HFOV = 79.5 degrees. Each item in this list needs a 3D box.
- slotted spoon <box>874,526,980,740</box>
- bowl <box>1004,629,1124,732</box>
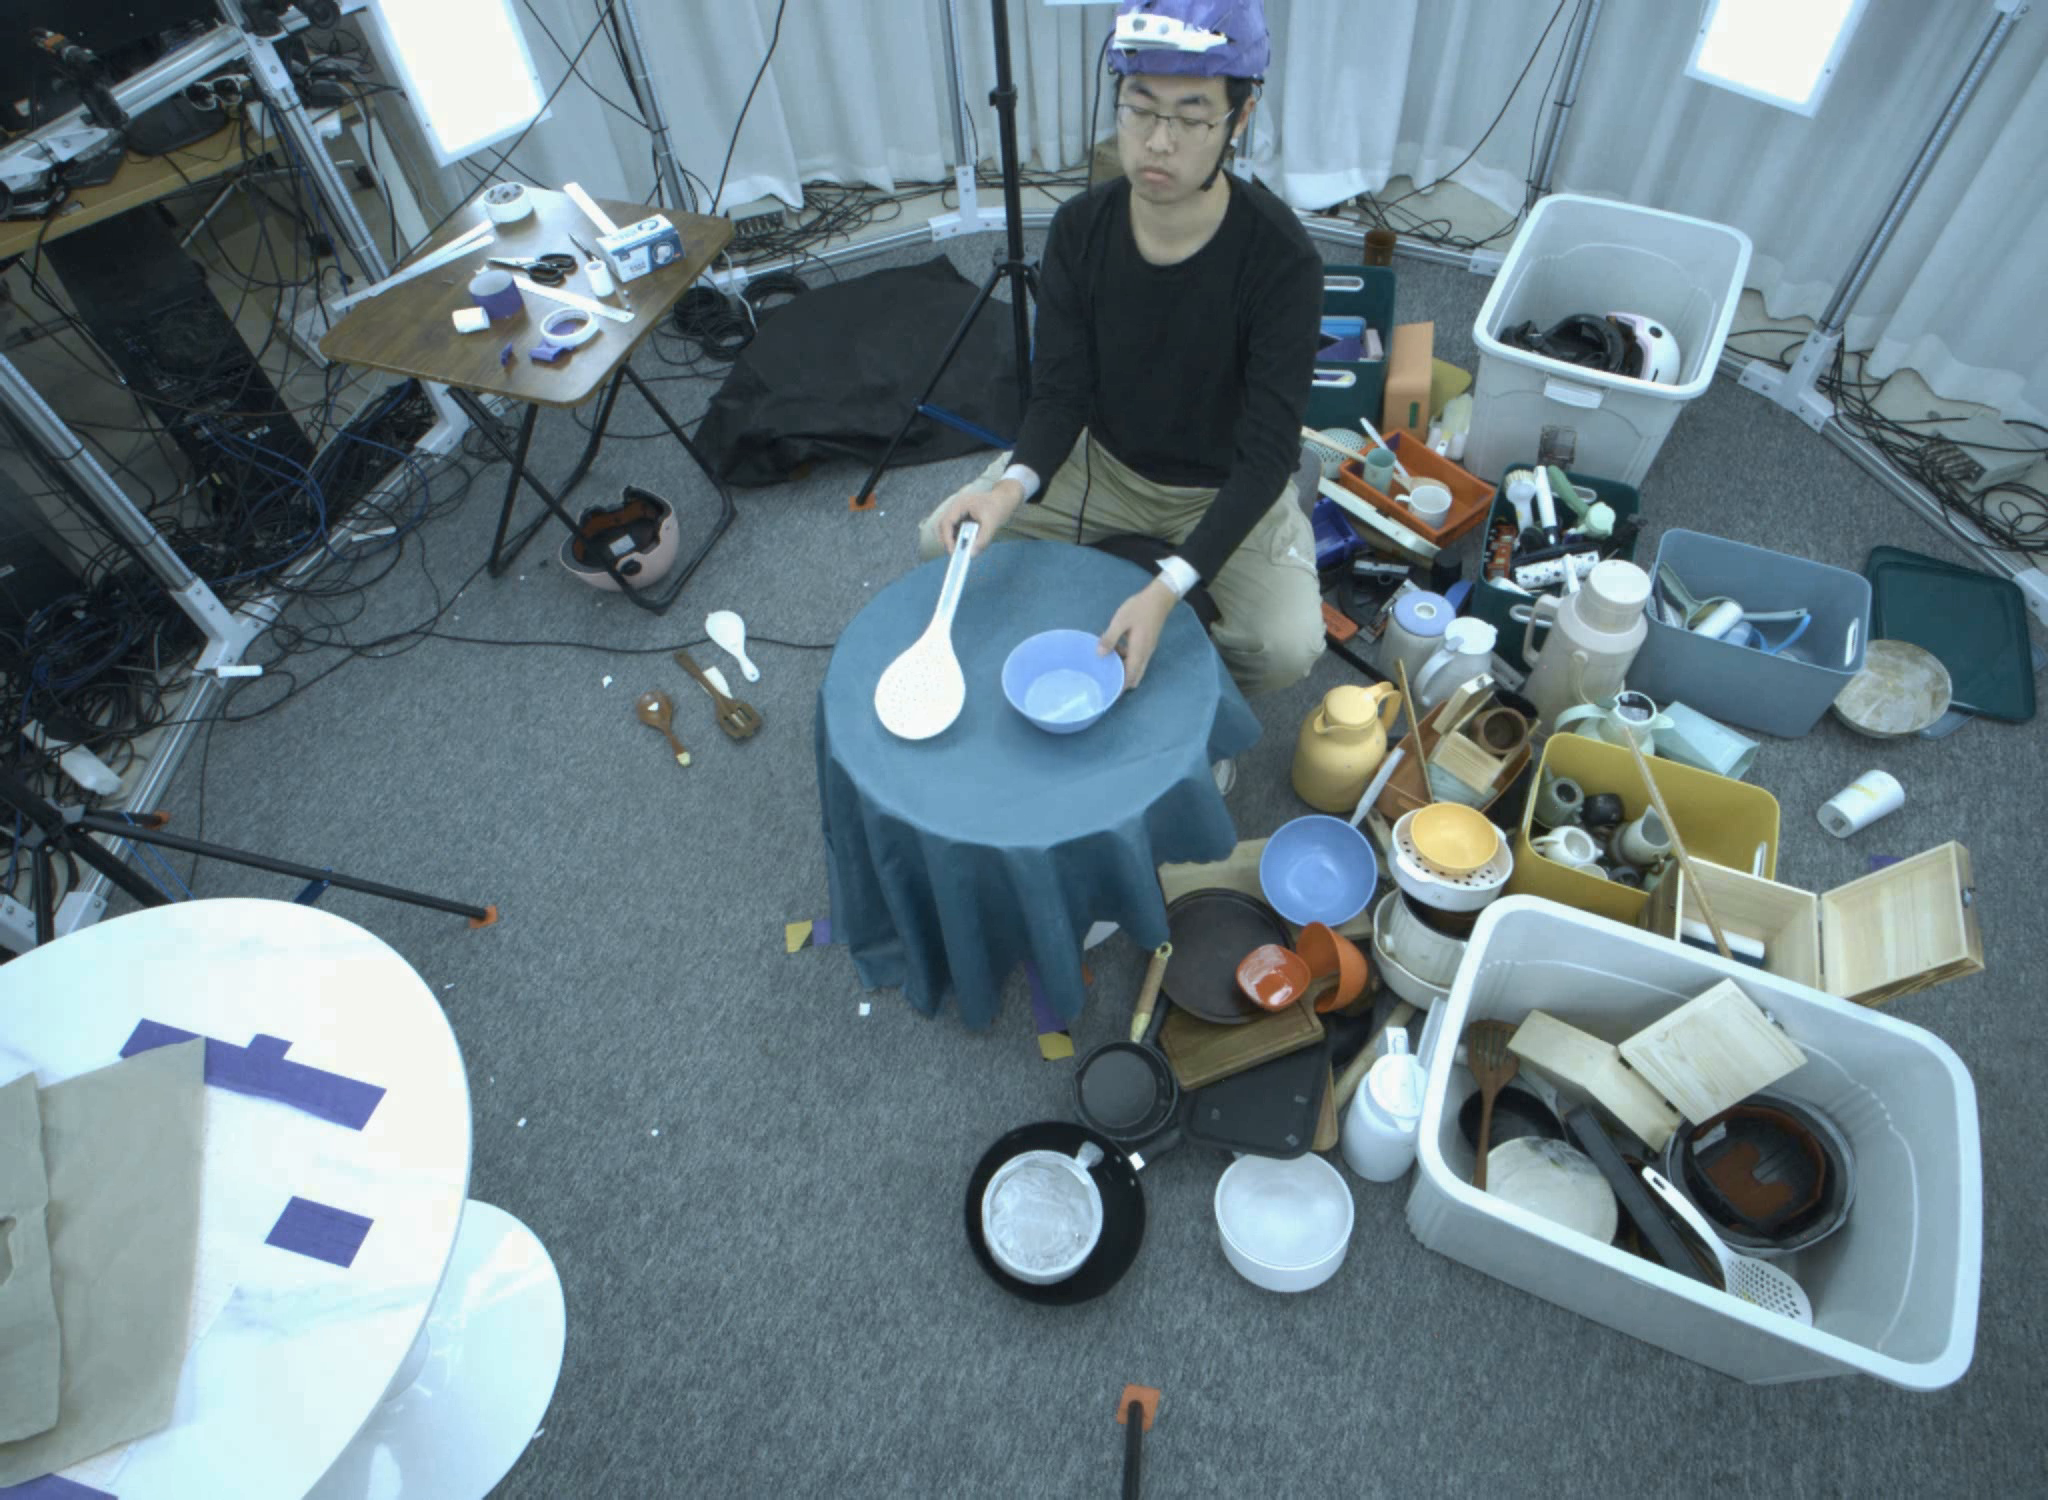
[{"bbox_3d":[-0.126,-0.178,1.830,0.134,0.046,0.349,11,80,16],"label":"slotted spoon"},{"bbox_3d":[0.059,-0.091,1.807,0.176,0.071,0.174,0,54,2],"label":"bowl"}]
